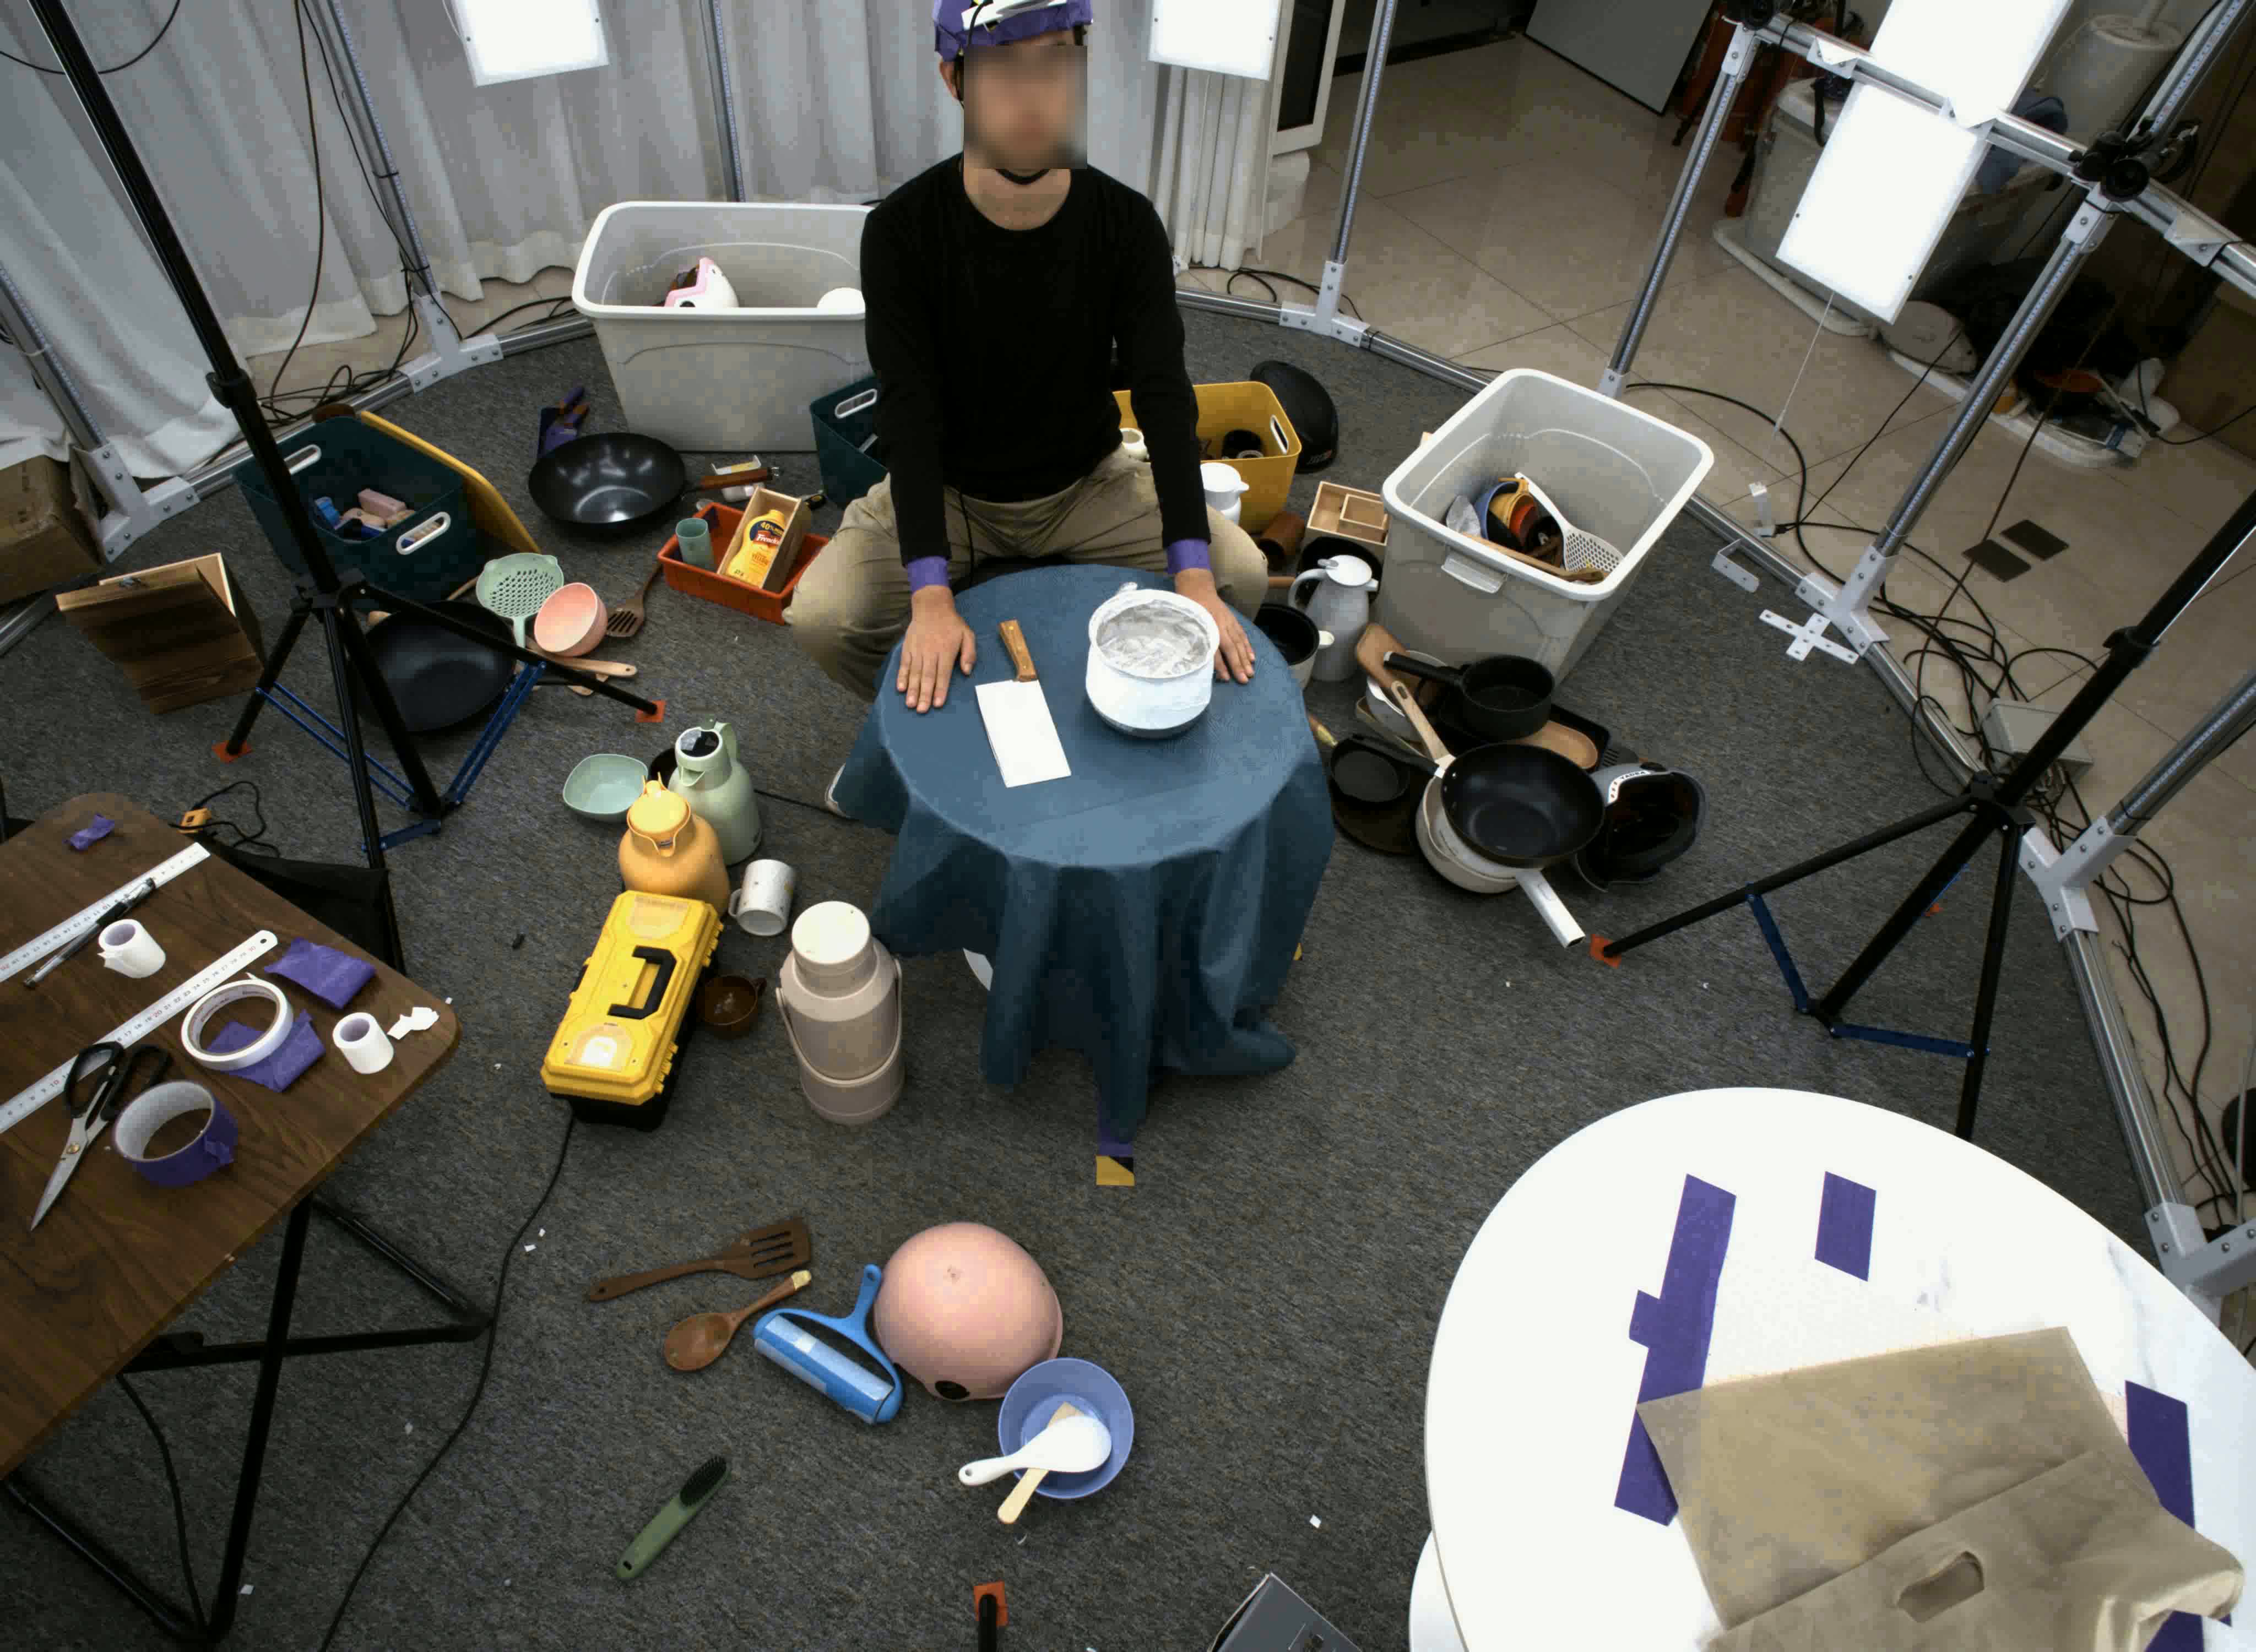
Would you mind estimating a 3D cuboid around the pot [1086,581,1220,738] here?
[{"bbox_3d":[0.022,-0.242,1.790,0.179,0.133,0.239,-12,52,-15],"label":"pot"}]

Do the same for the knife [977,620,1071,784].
[{"bbox_3d":[-0.160,-0.177,1.804,0.093,0.020,0.313,-10,52,-12],"label":"knife"}]
